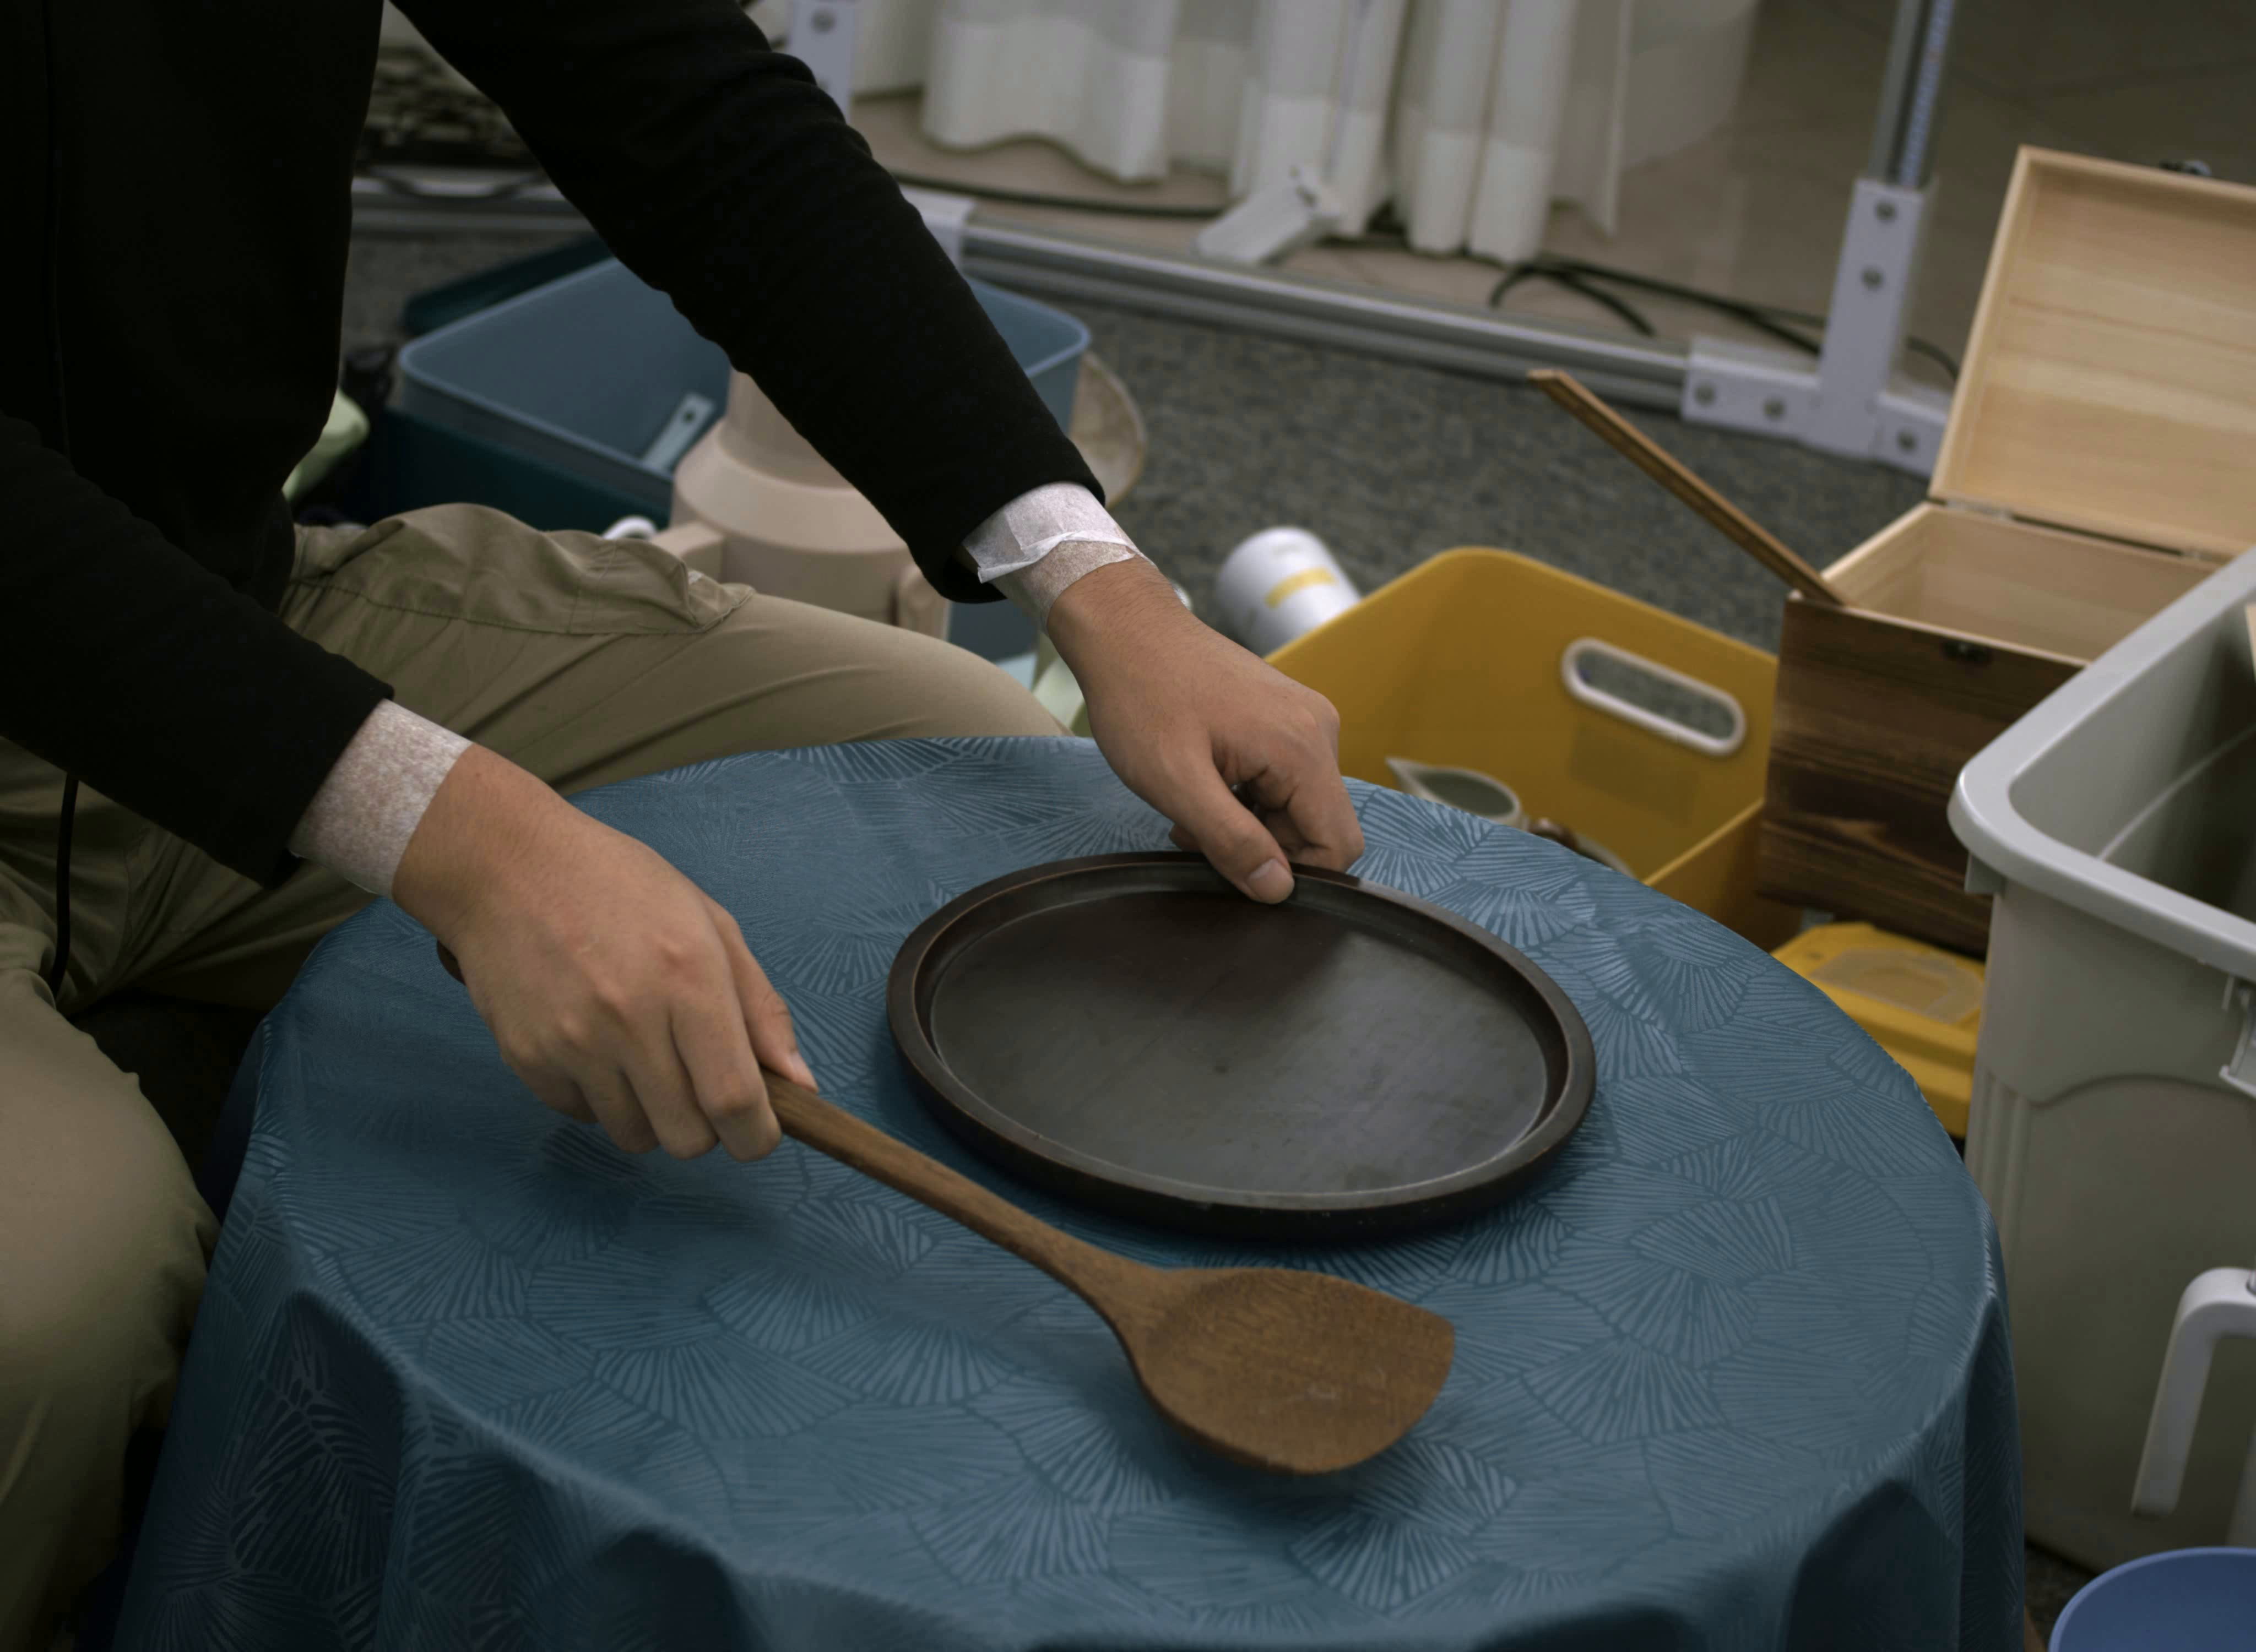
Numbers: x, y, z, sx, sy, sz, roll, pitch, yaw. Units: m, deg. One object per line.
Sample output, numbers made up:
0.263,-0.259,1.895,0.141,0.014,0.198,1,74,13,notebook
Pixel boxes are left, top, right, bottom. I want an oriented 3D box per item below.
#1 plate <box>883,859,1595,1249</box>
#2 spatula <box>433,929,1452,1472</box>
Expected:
0.038,0.078,1.876,0.254,0.029,0.256,6,28,-4,plate
-0.072,0.112,1.725,0.388,0.016,0.096,25,39,23,spatula
